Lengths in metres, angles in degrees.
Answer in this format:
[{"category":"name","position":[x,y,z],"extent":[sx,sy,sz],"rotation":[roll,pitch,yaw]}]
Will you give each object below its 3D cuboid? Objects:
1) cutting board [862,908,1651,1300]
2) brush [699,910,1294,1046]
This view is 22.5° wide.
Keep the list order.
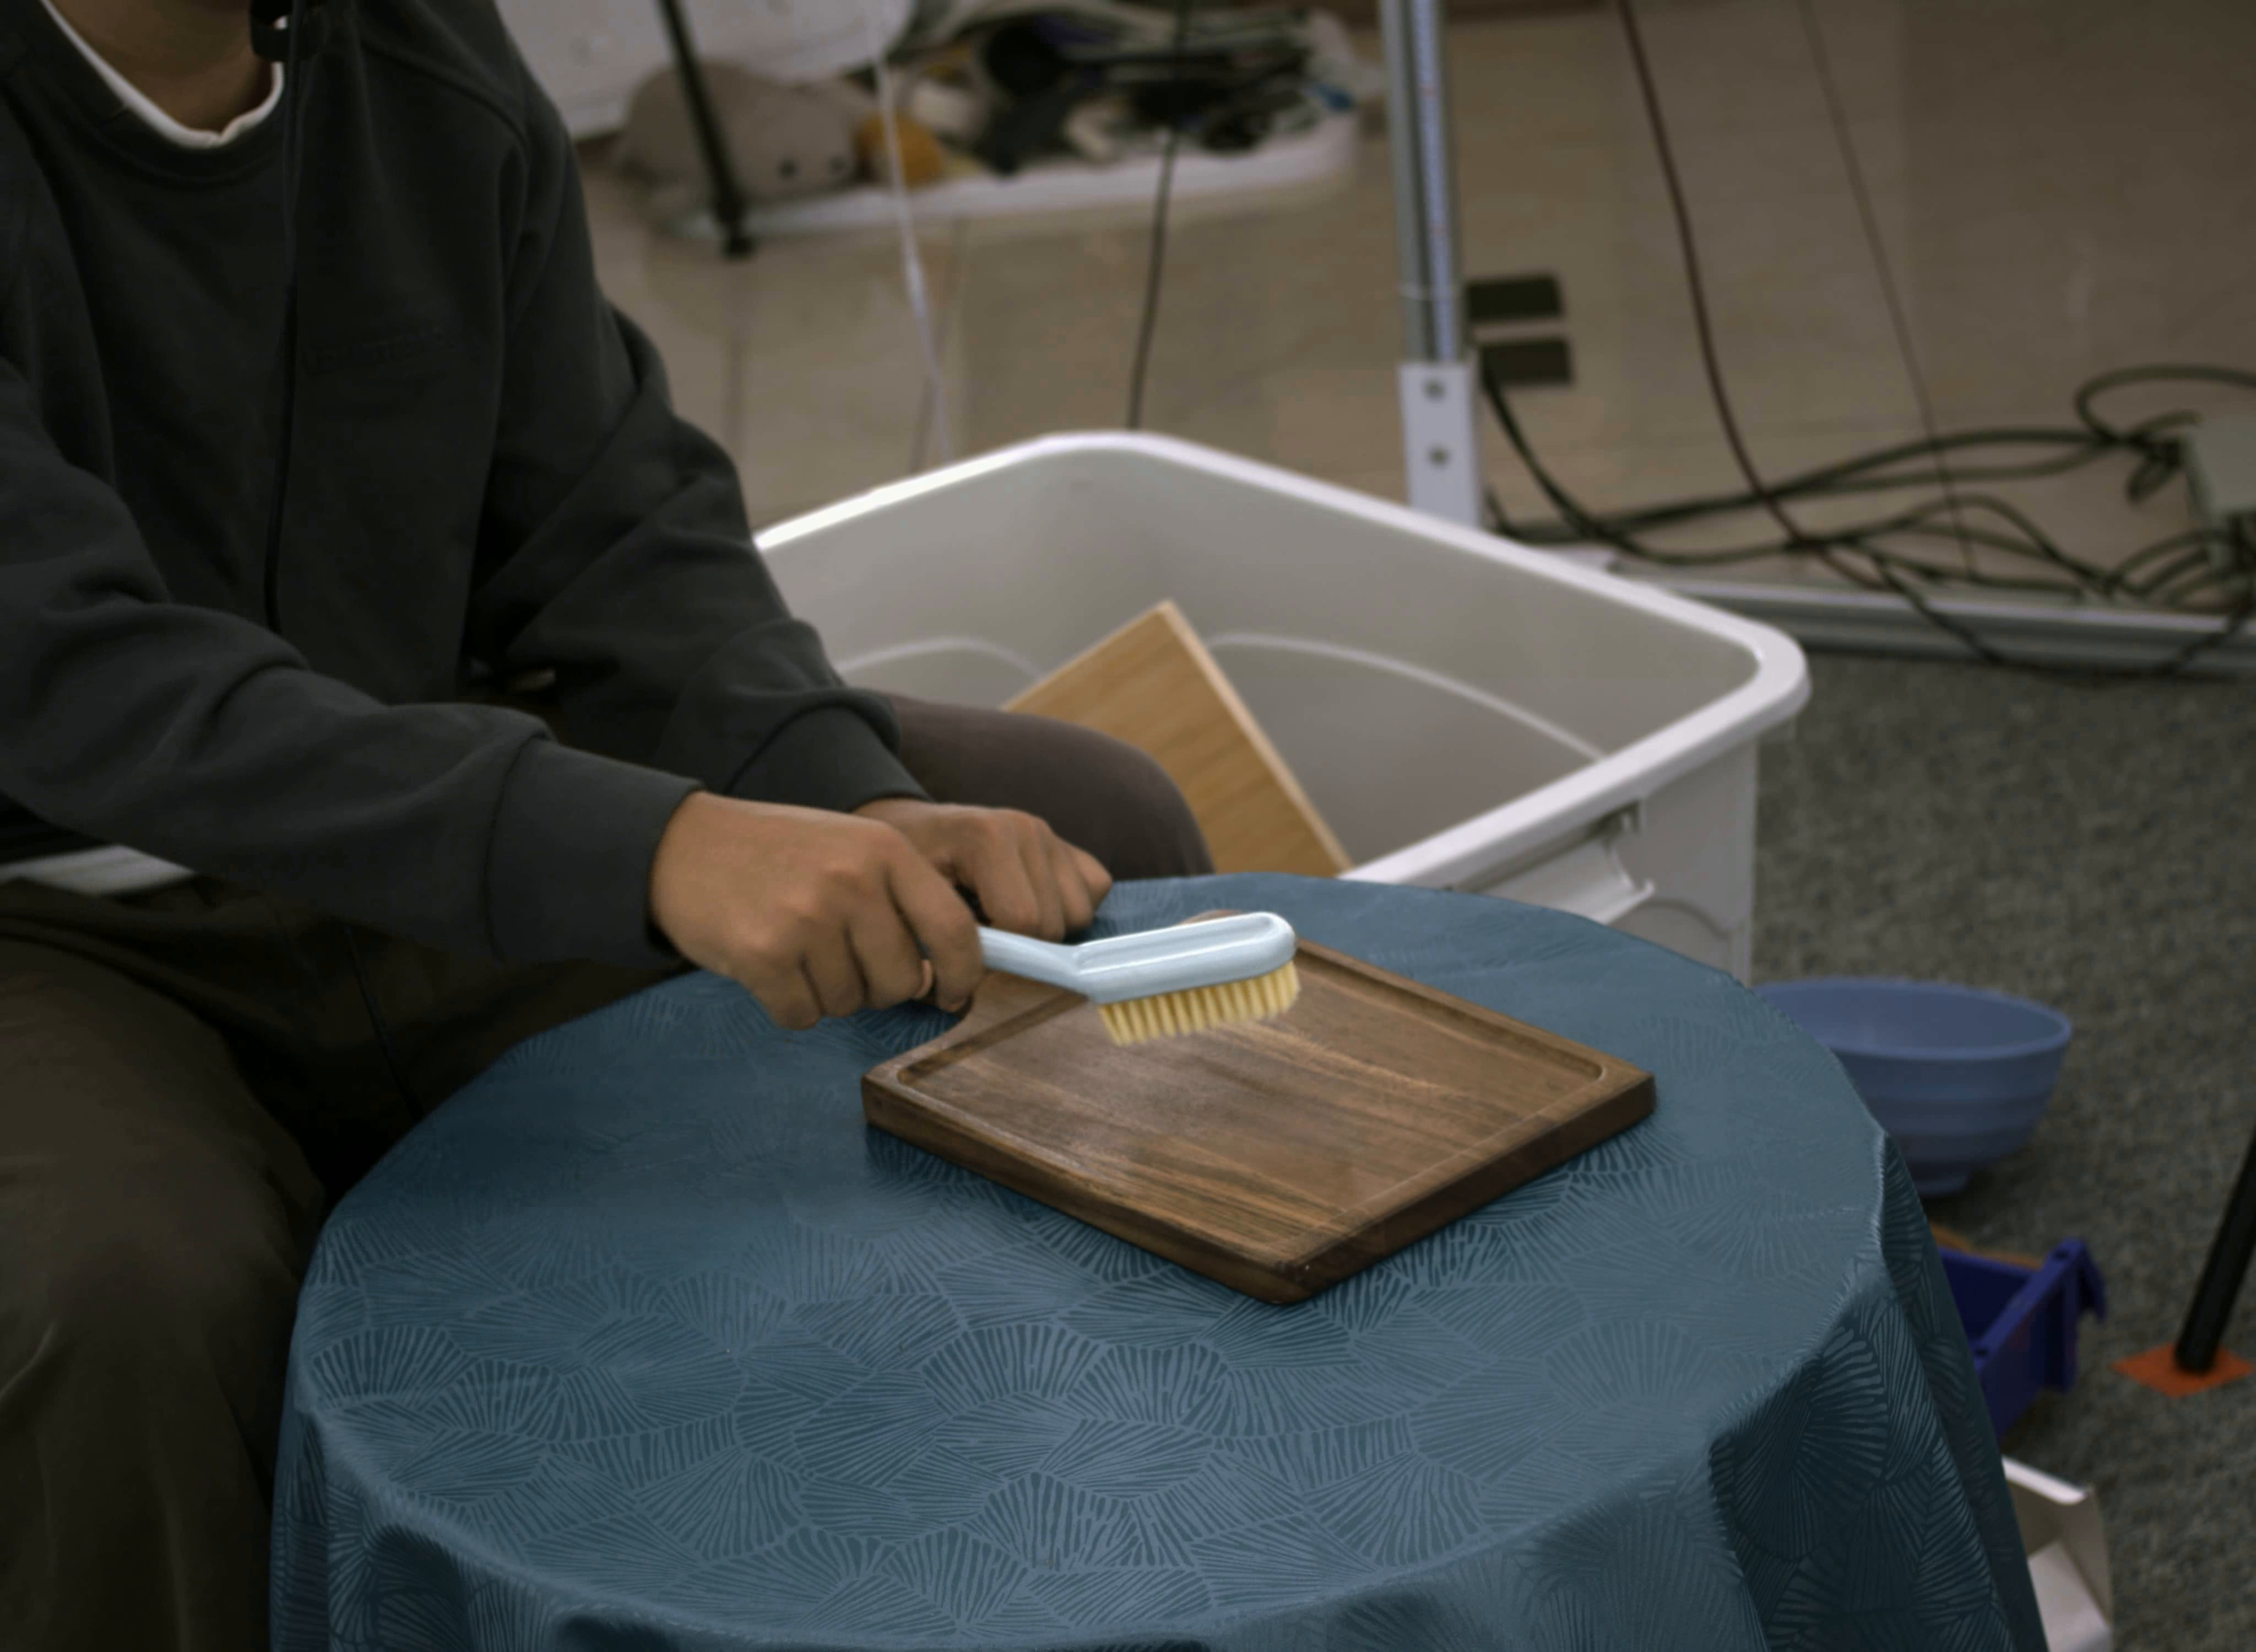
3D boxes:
[{"category":"cutting board","position":[0.015,0.090,2.225],"extent":[0.199,0.023,0.349],"rotation":[-24,30,-35]},{"category":"brush","position":[-0.051,0.056,2.169],"extent":[0.228,0.050,0.037],"rotation":[1,29,3]}]
